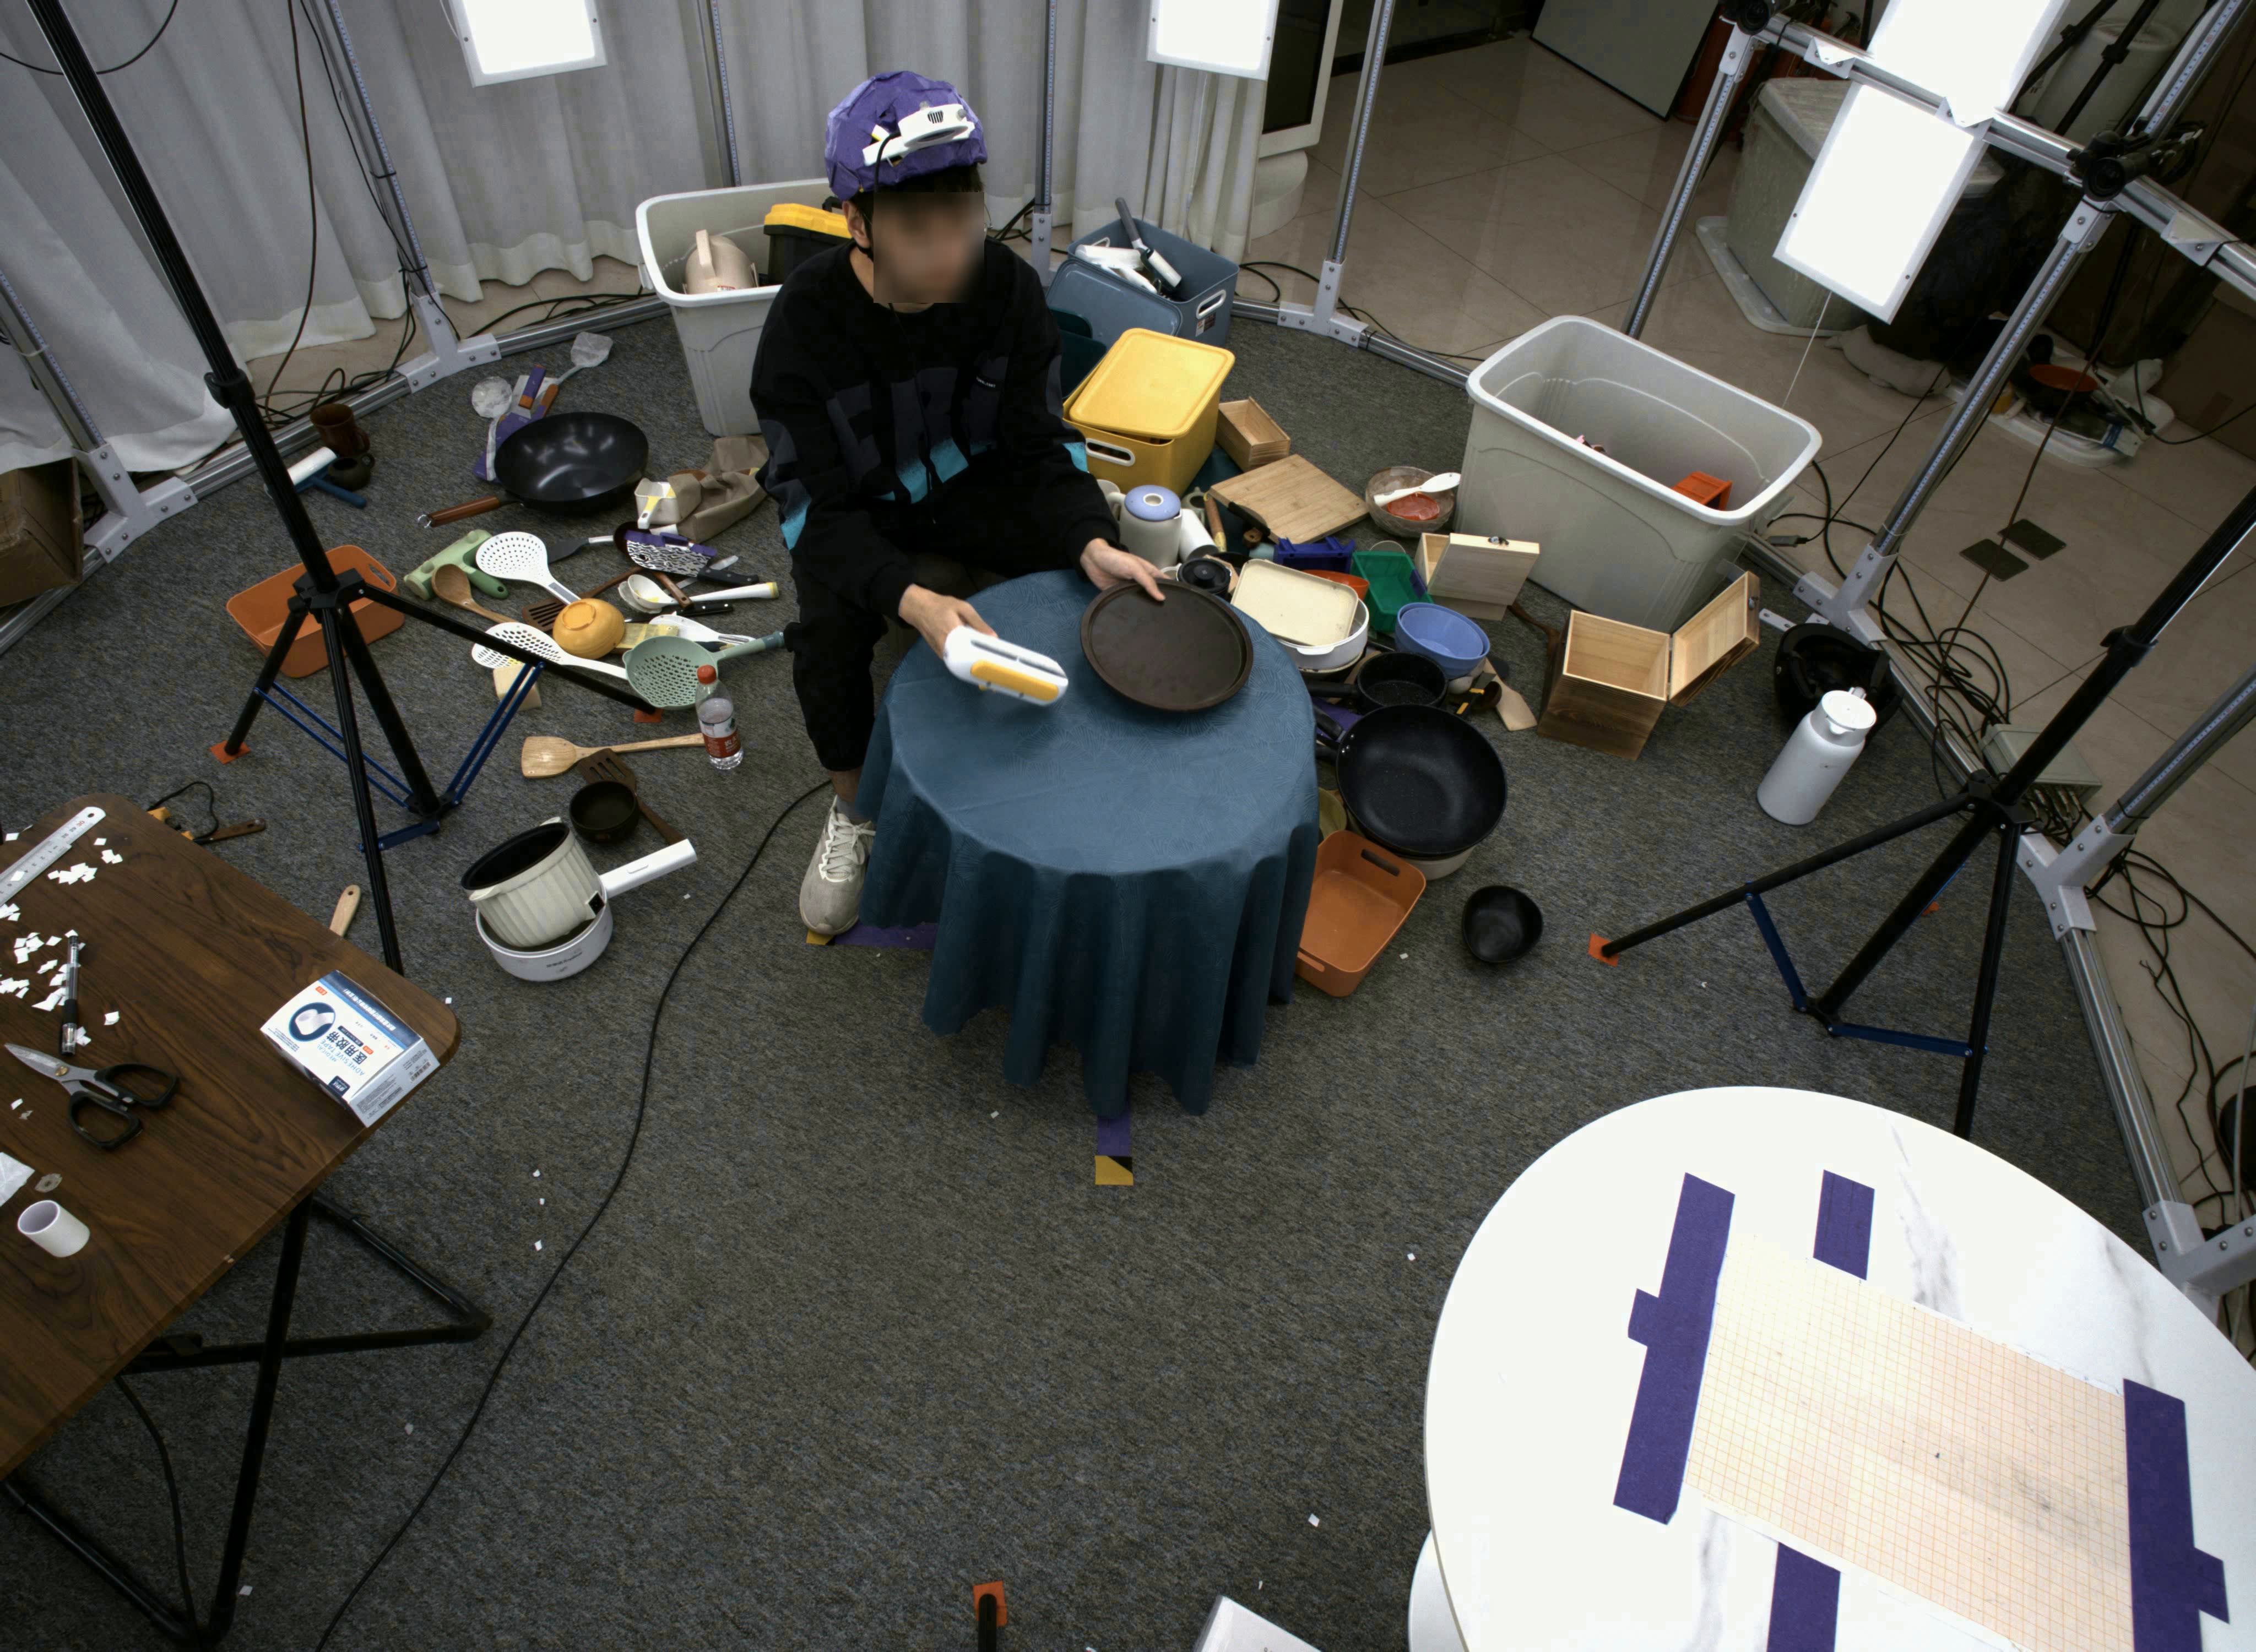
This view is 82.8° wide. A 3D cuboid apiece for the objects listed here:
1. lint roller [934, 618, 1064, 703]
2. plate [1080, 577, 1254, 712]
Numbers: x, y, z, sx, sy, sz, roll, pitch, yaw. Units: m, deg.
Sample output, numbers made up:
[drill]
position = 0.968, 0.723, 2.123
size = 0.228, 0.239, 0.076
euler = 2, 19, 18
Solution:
[lint roller]
position = -0.198, -0.247, 1.762
size = 0.191, 0.073, 0.197
euler = 13, 28, -37
[plate]
position = 0.056, -0.262, 1.846
size = 0.254, 0.028, 0.261
euler = 5, 51, -7
